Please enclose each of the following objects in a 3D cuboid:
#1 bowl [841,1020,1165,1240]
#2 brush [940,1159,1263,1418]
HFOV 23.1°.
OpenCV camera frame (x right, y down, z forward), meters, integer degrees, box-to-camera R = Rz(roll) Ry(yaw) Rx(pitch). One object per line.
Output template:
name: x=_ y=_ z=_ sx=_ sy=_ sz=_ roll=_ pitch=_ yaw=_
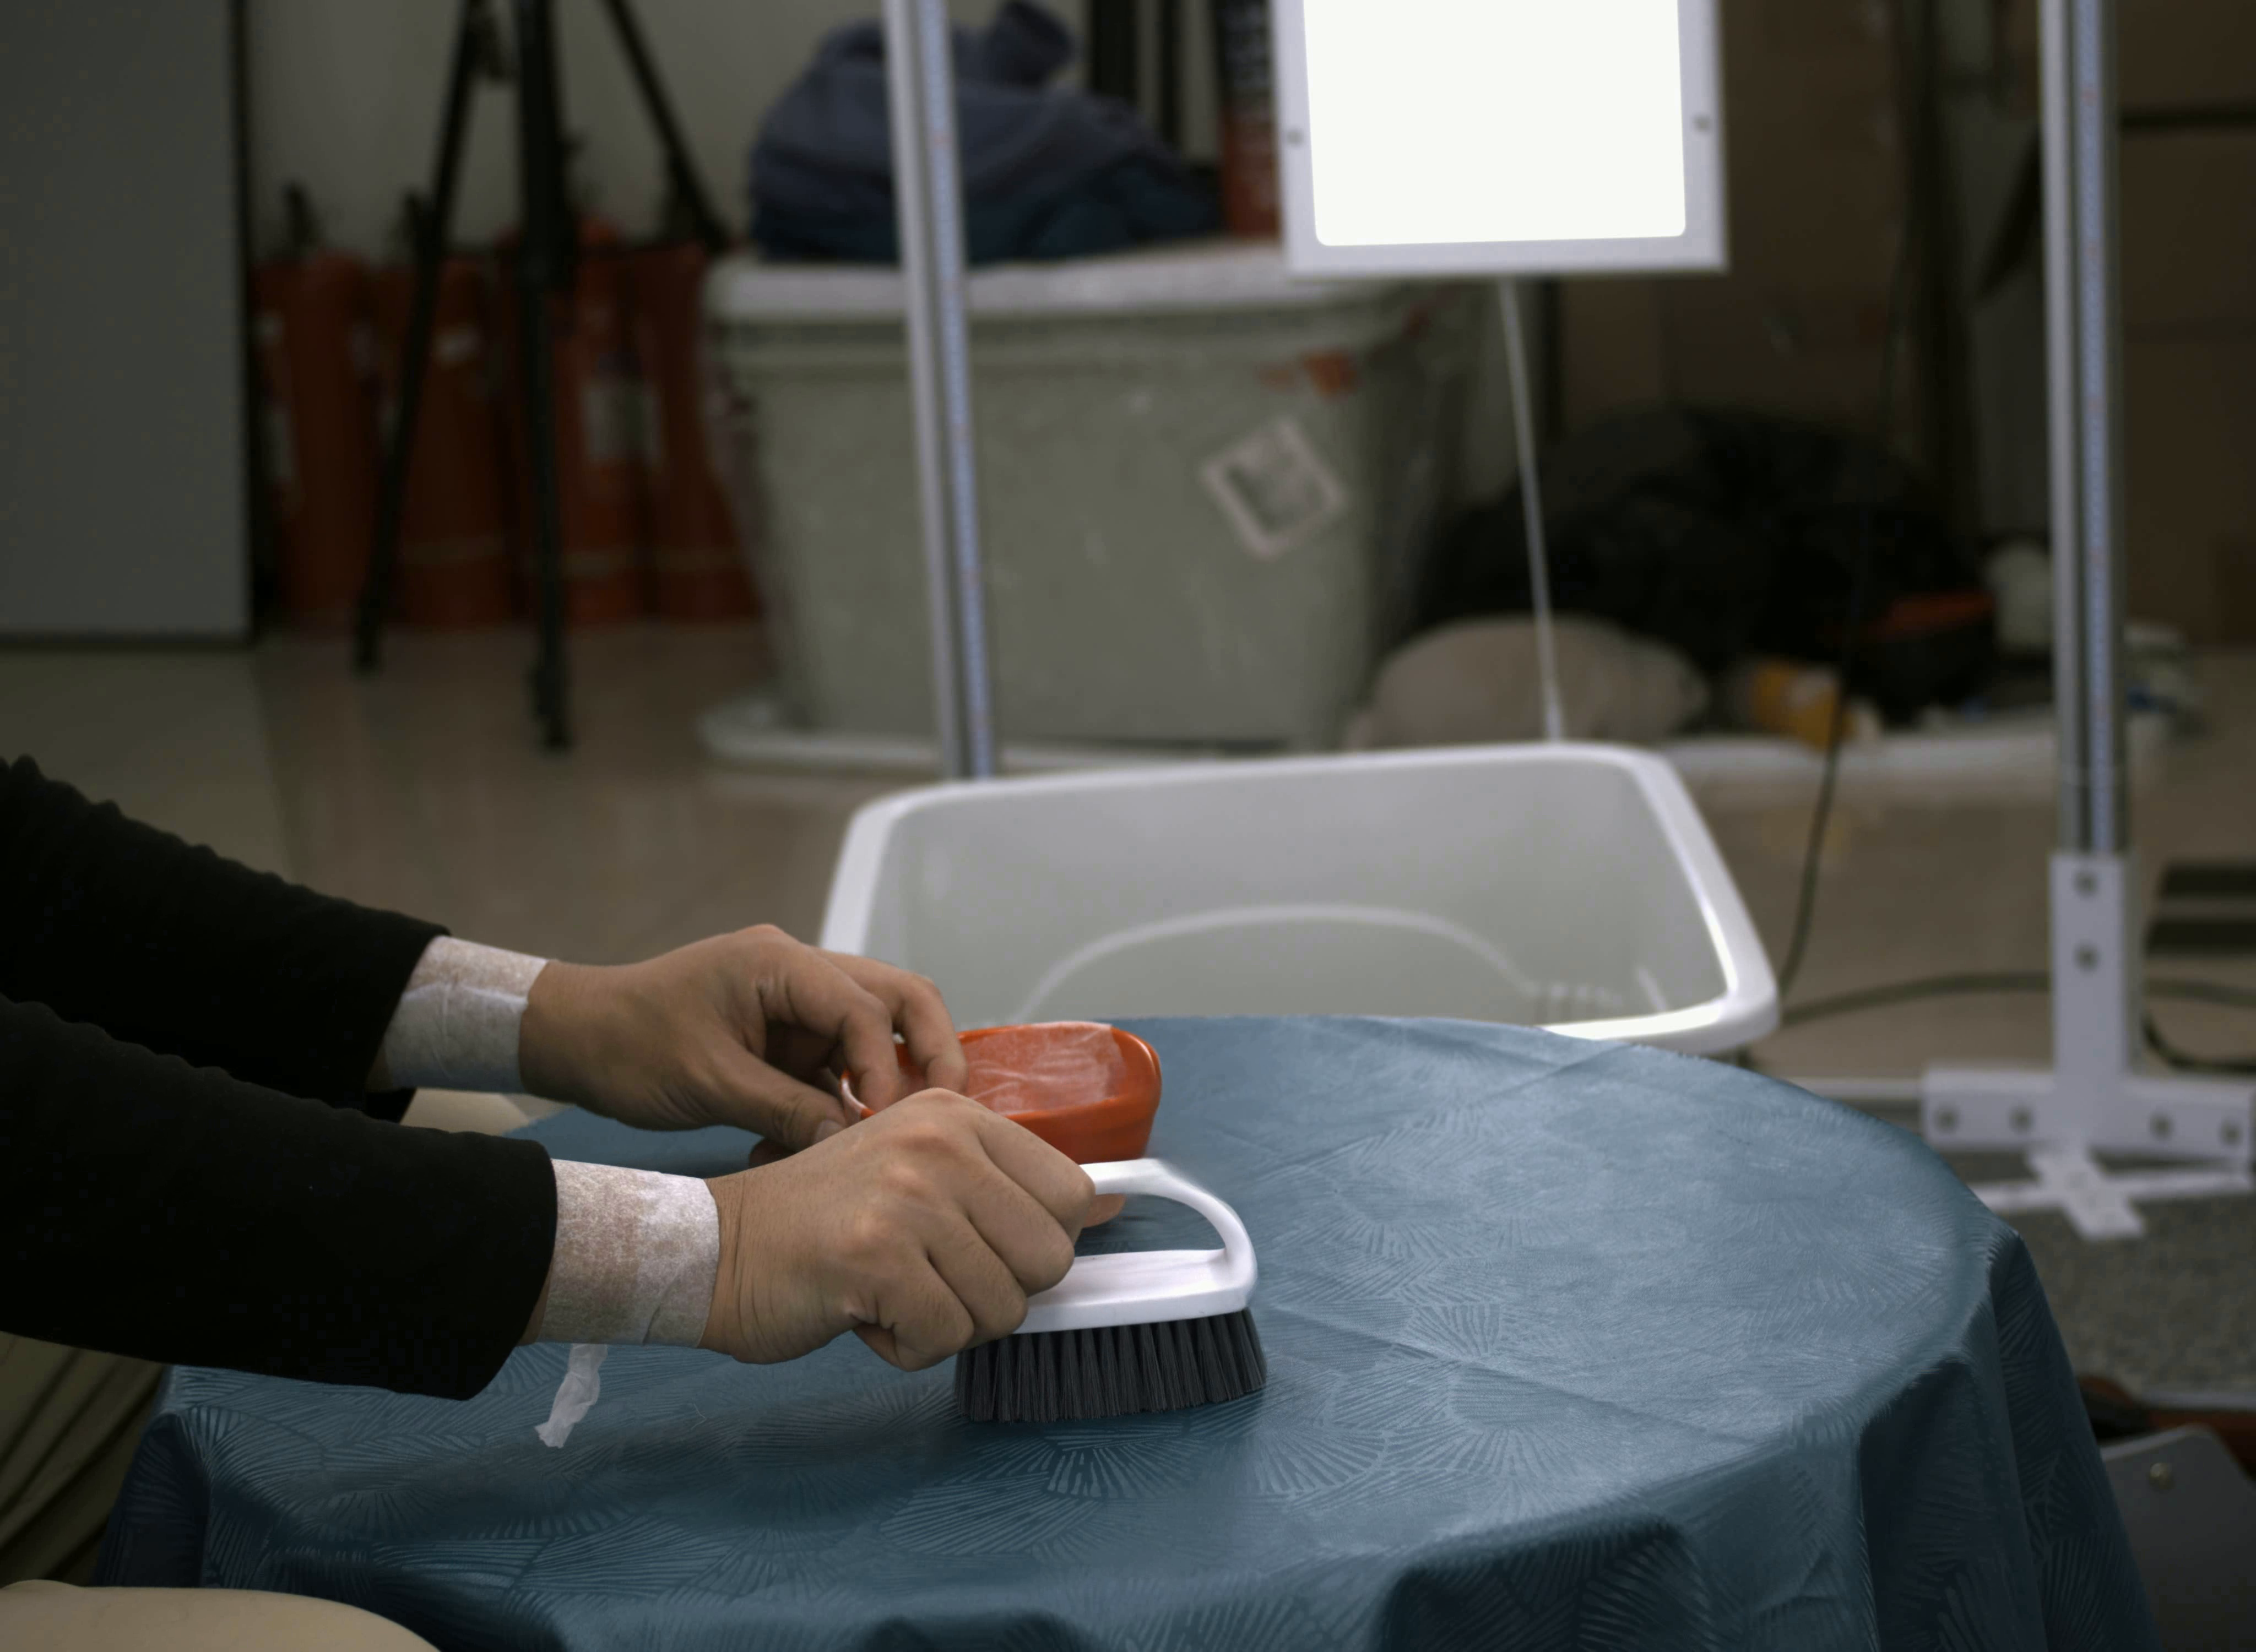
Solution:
bowl: x=-0.042 y=0.106 z=1.885 sx=0.118 sy=0.051 sz=0.119 roll=-2 pitch=15 yaw=-1
brush: x=-0.010 y=0.139 z=1.696 sx=0.099 sy=0.073 sz=0.050 roll=-4 pitch=14 yaw=2
